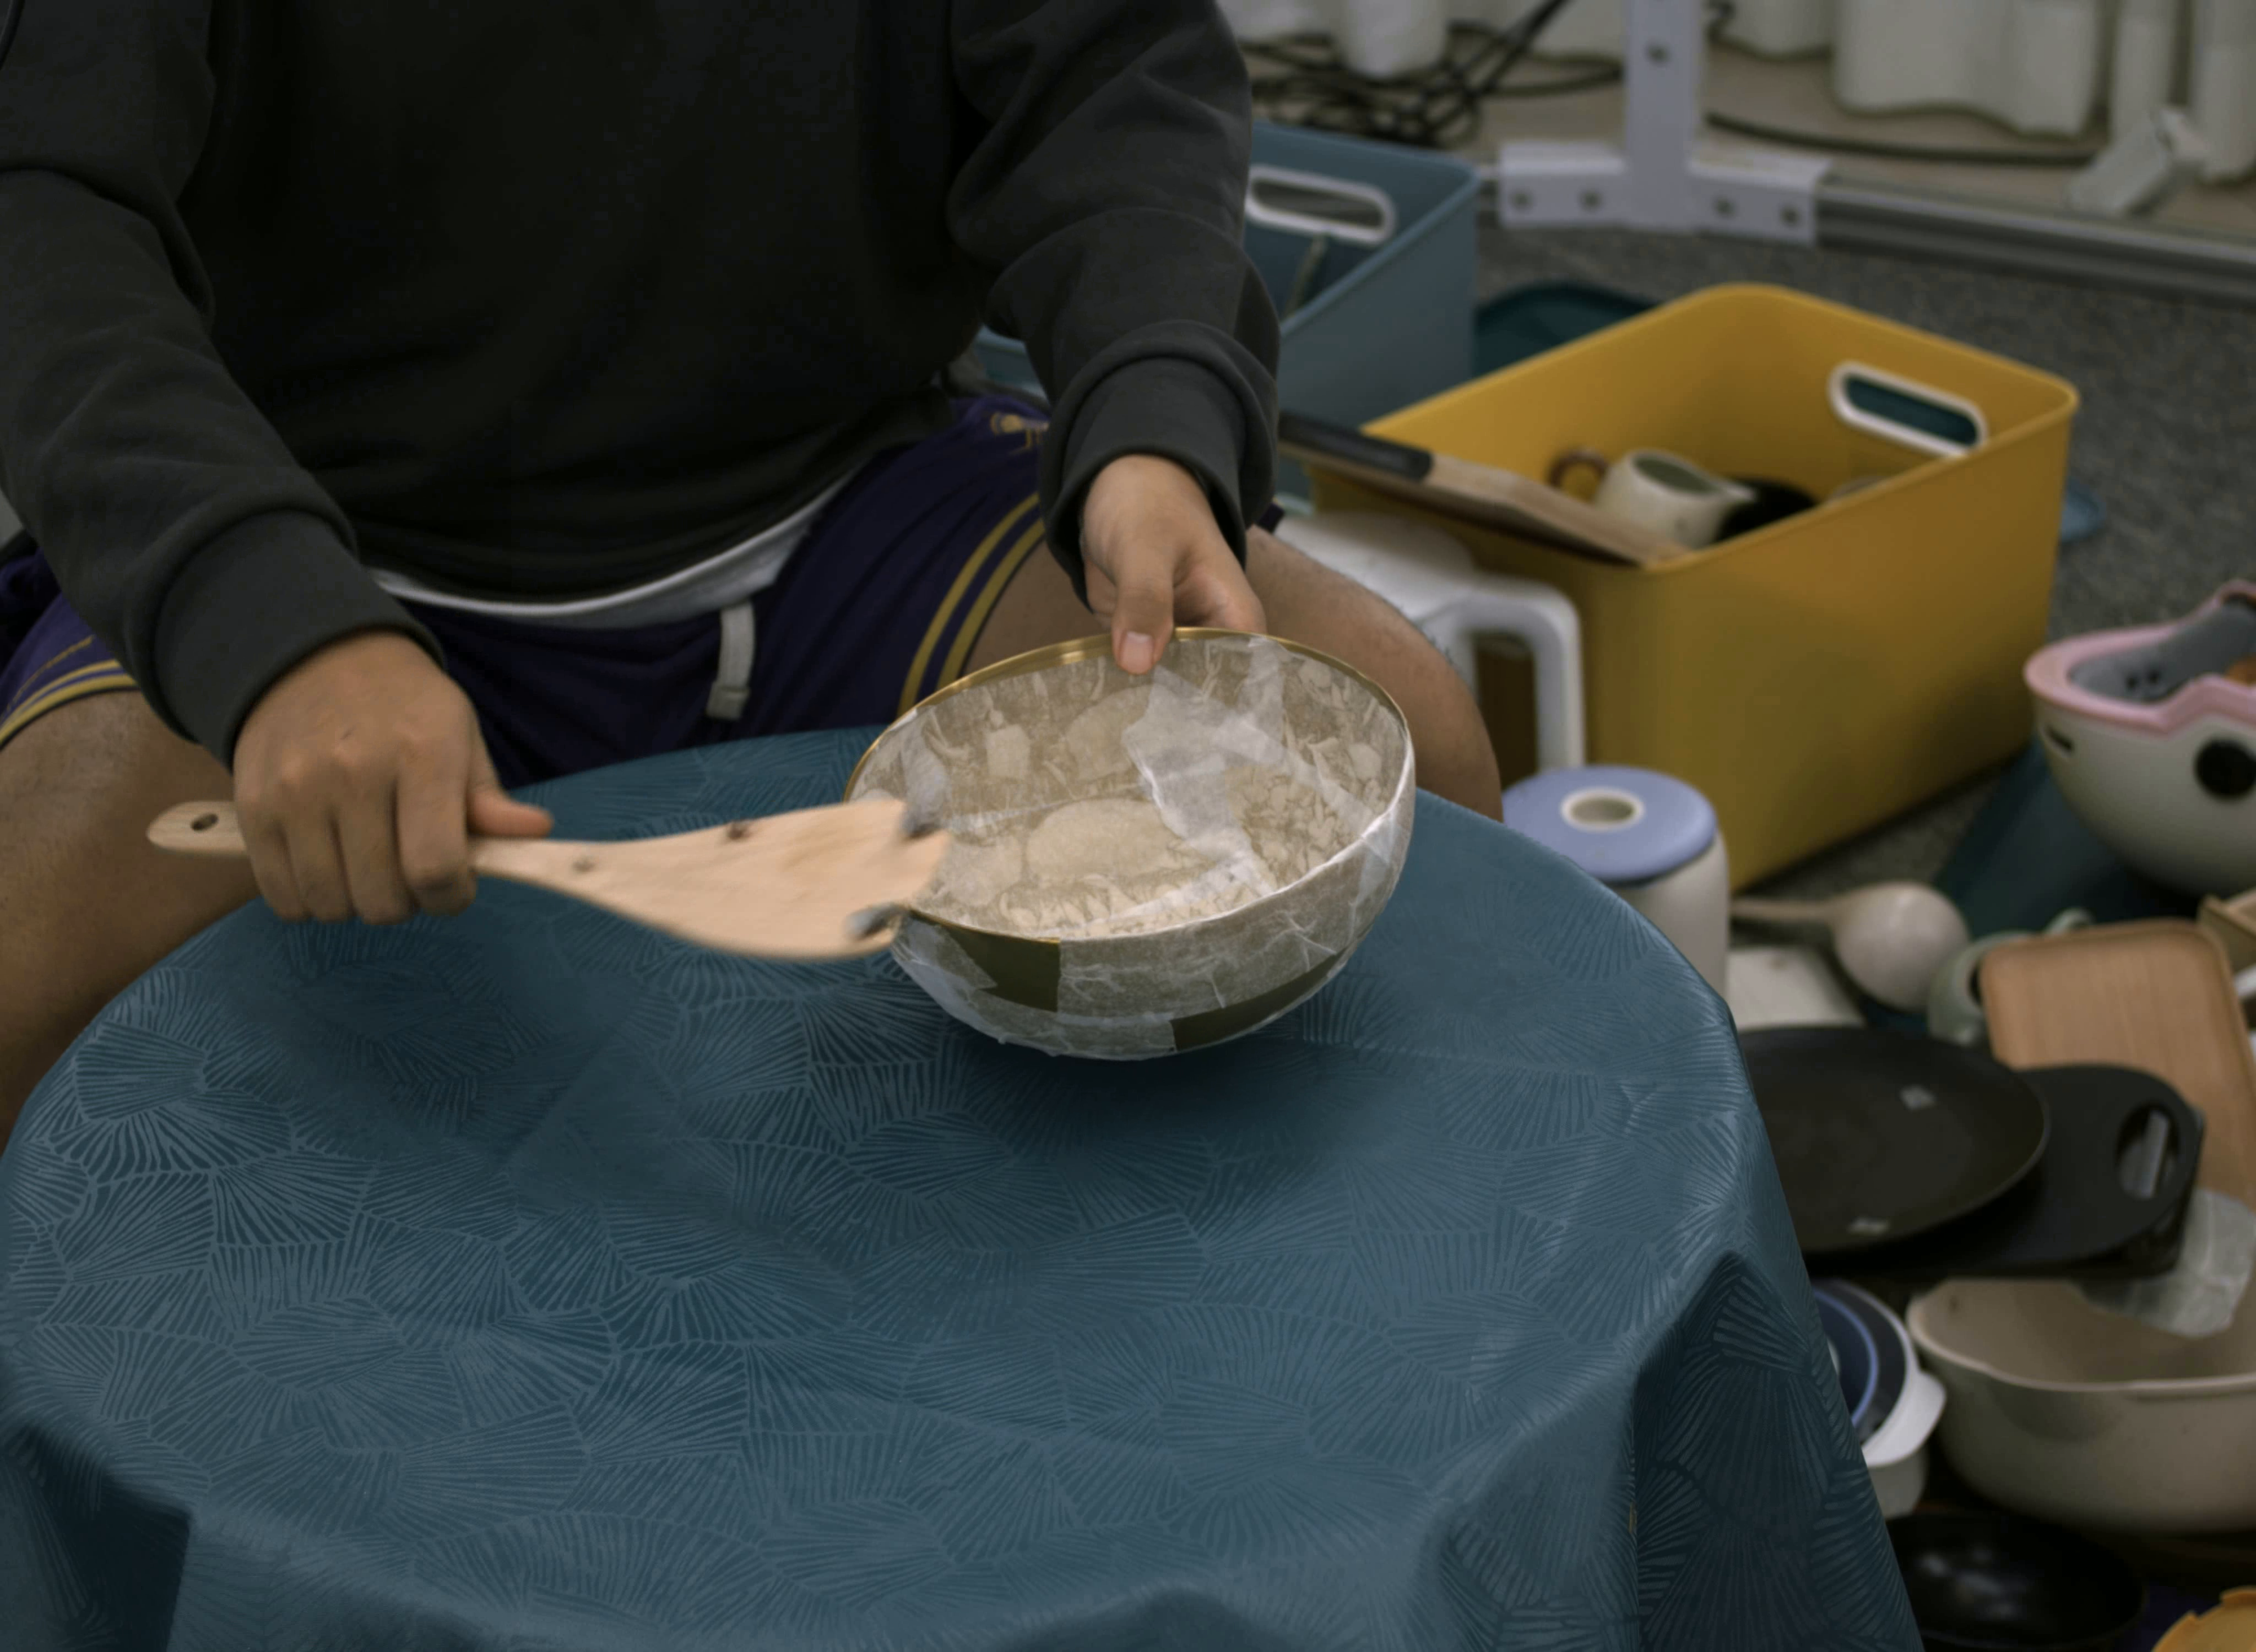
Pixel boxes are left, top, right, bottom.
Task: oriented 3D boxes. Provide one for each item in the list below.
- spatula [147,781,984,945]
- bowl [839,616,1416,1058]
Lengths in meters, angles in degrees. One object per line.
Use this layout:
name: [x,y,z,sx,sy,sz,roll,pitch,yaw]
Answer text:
spatula: [-0.192,0.005,1.866,0.325,0.016,0.081,4,40,27]
bowl: [0.003,0.016,1.956,0.213,0.093,0.218,-6,32,4]
